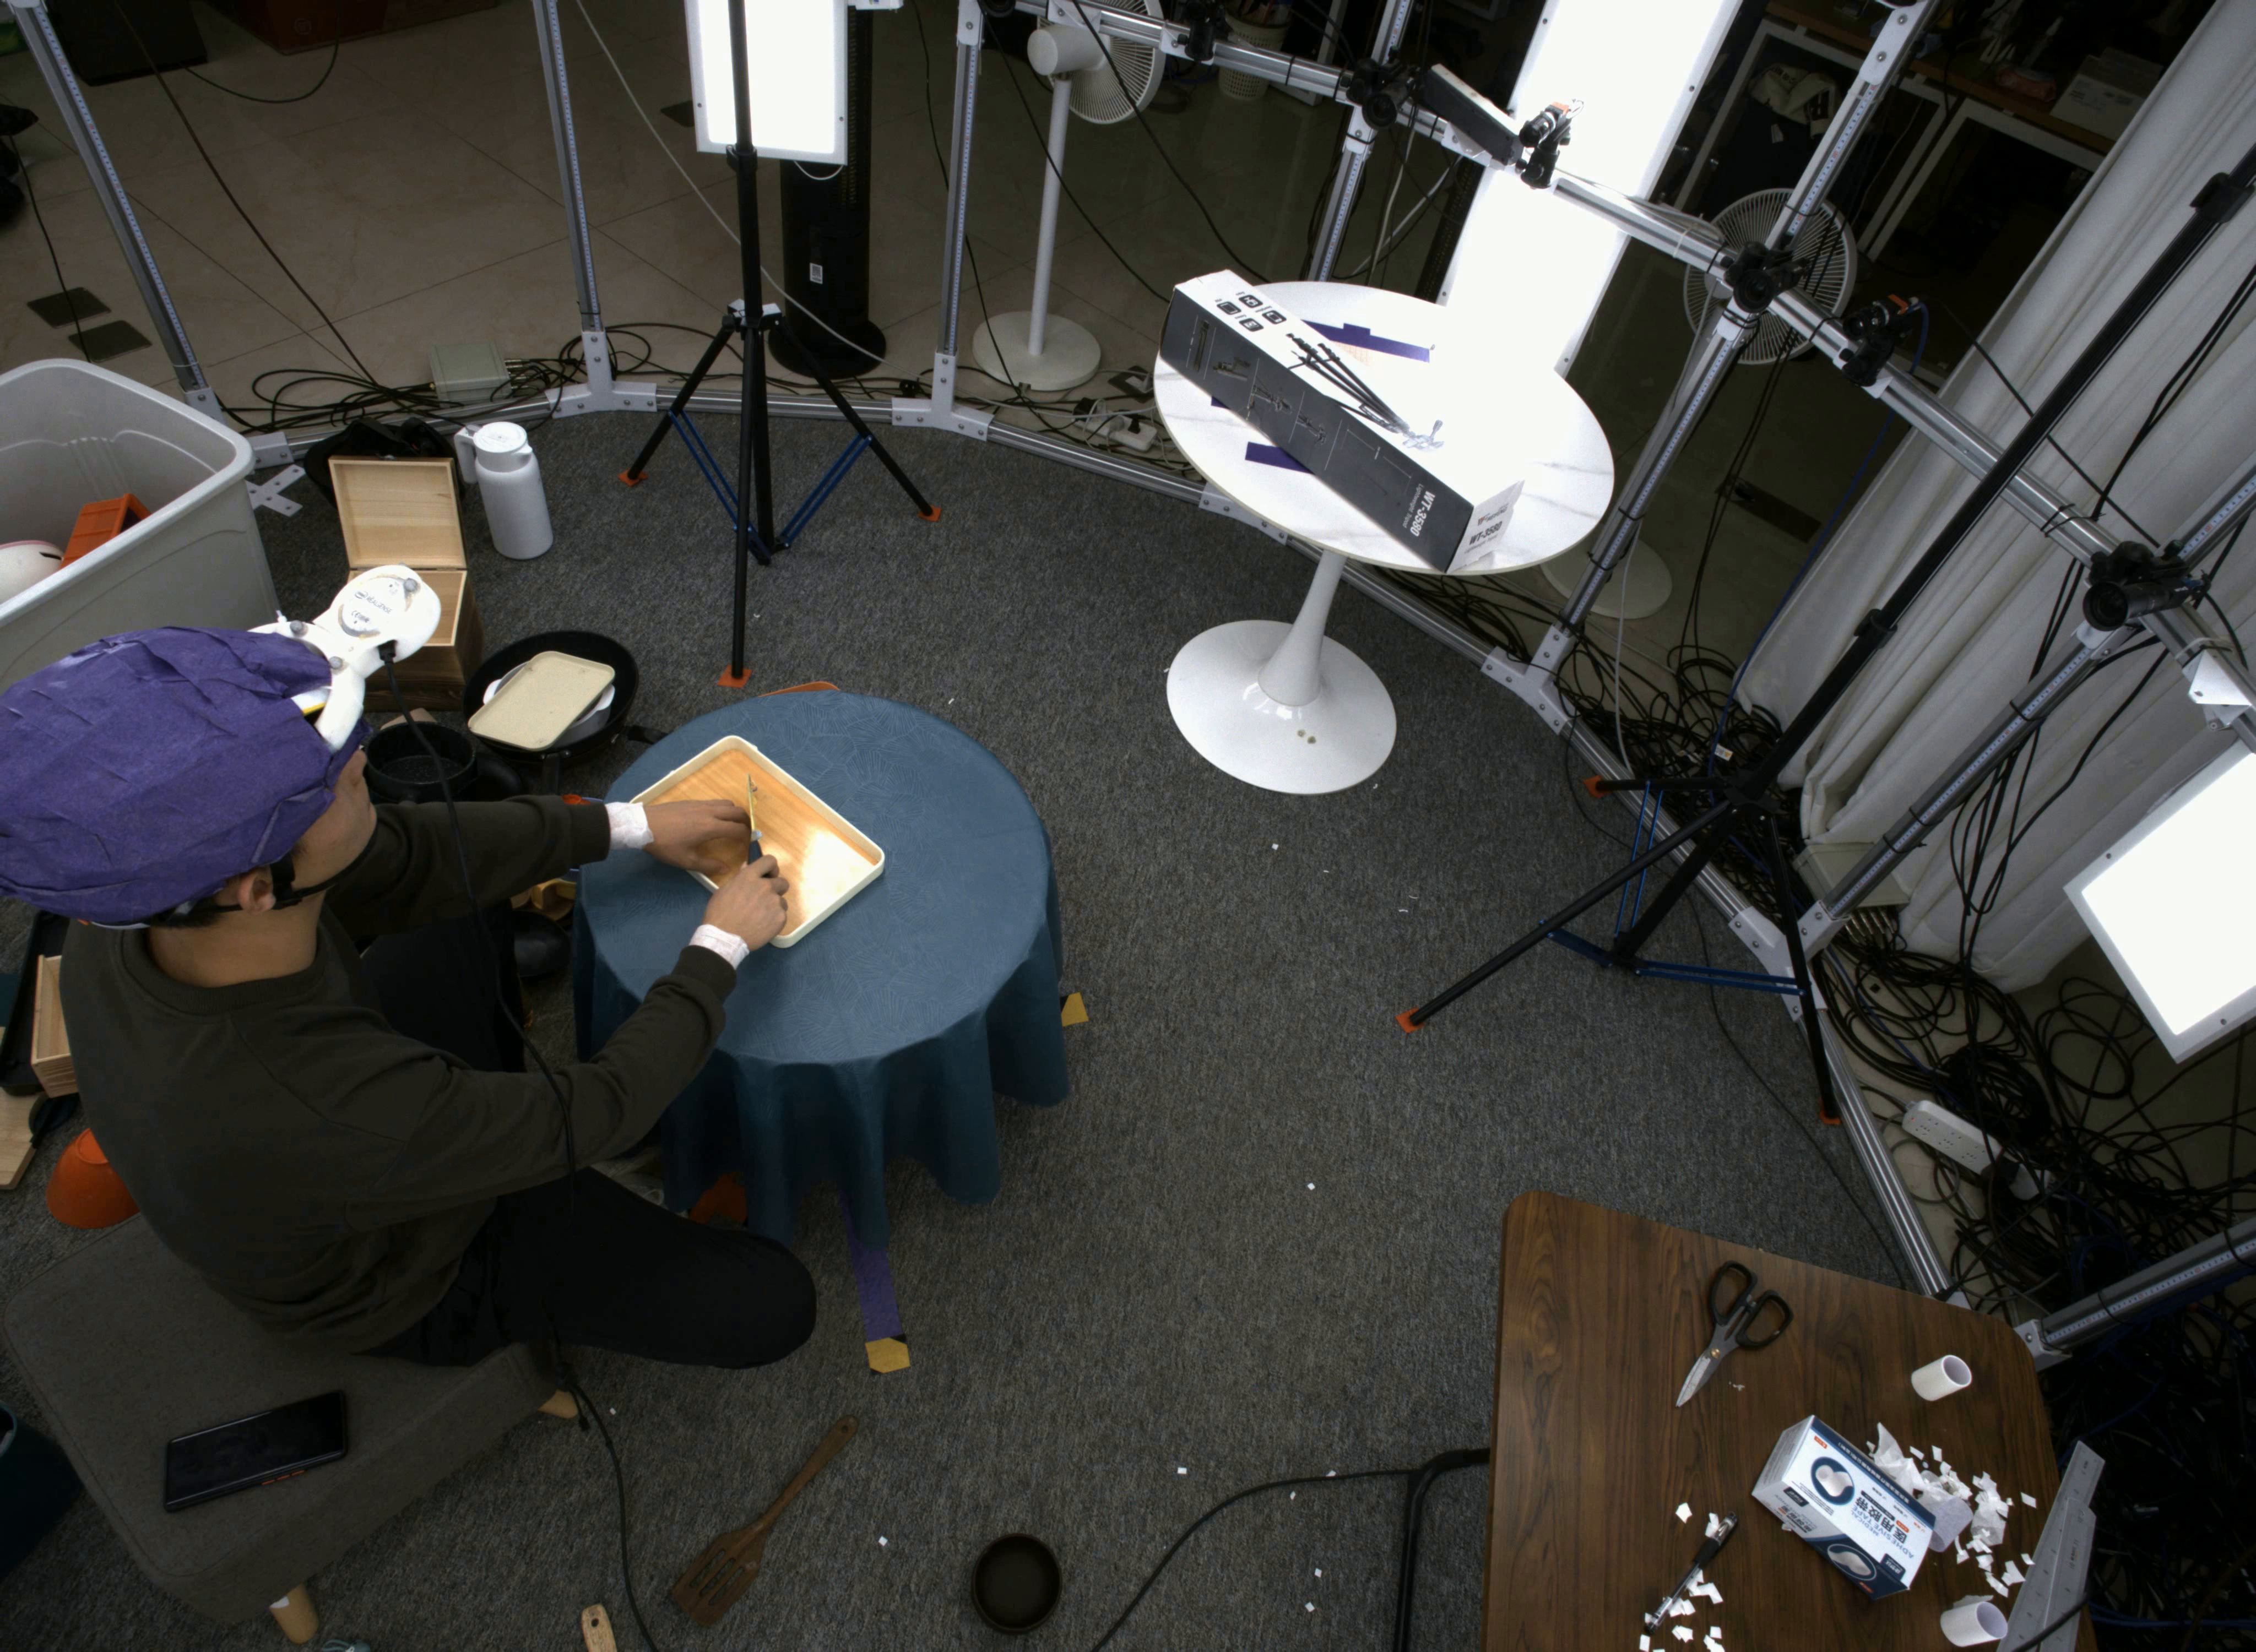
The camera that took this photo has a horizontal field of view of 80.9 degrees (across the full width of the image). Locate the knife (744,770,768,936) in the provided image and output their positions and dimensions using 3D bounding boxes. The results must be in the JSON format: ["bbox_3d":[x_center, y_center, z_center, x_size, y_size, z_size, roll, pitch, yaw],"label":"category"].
[{"bbox_3d":[-0.469,0.032,1.629,0.027,0.083,0.281,-9,46,-10],"label":"knife"}]

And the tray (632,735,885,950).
[{"bbox_3d":[-0.484,0.015,1.692,0.294,0.028,0.191,37,55,14],"label":"tray"}]
